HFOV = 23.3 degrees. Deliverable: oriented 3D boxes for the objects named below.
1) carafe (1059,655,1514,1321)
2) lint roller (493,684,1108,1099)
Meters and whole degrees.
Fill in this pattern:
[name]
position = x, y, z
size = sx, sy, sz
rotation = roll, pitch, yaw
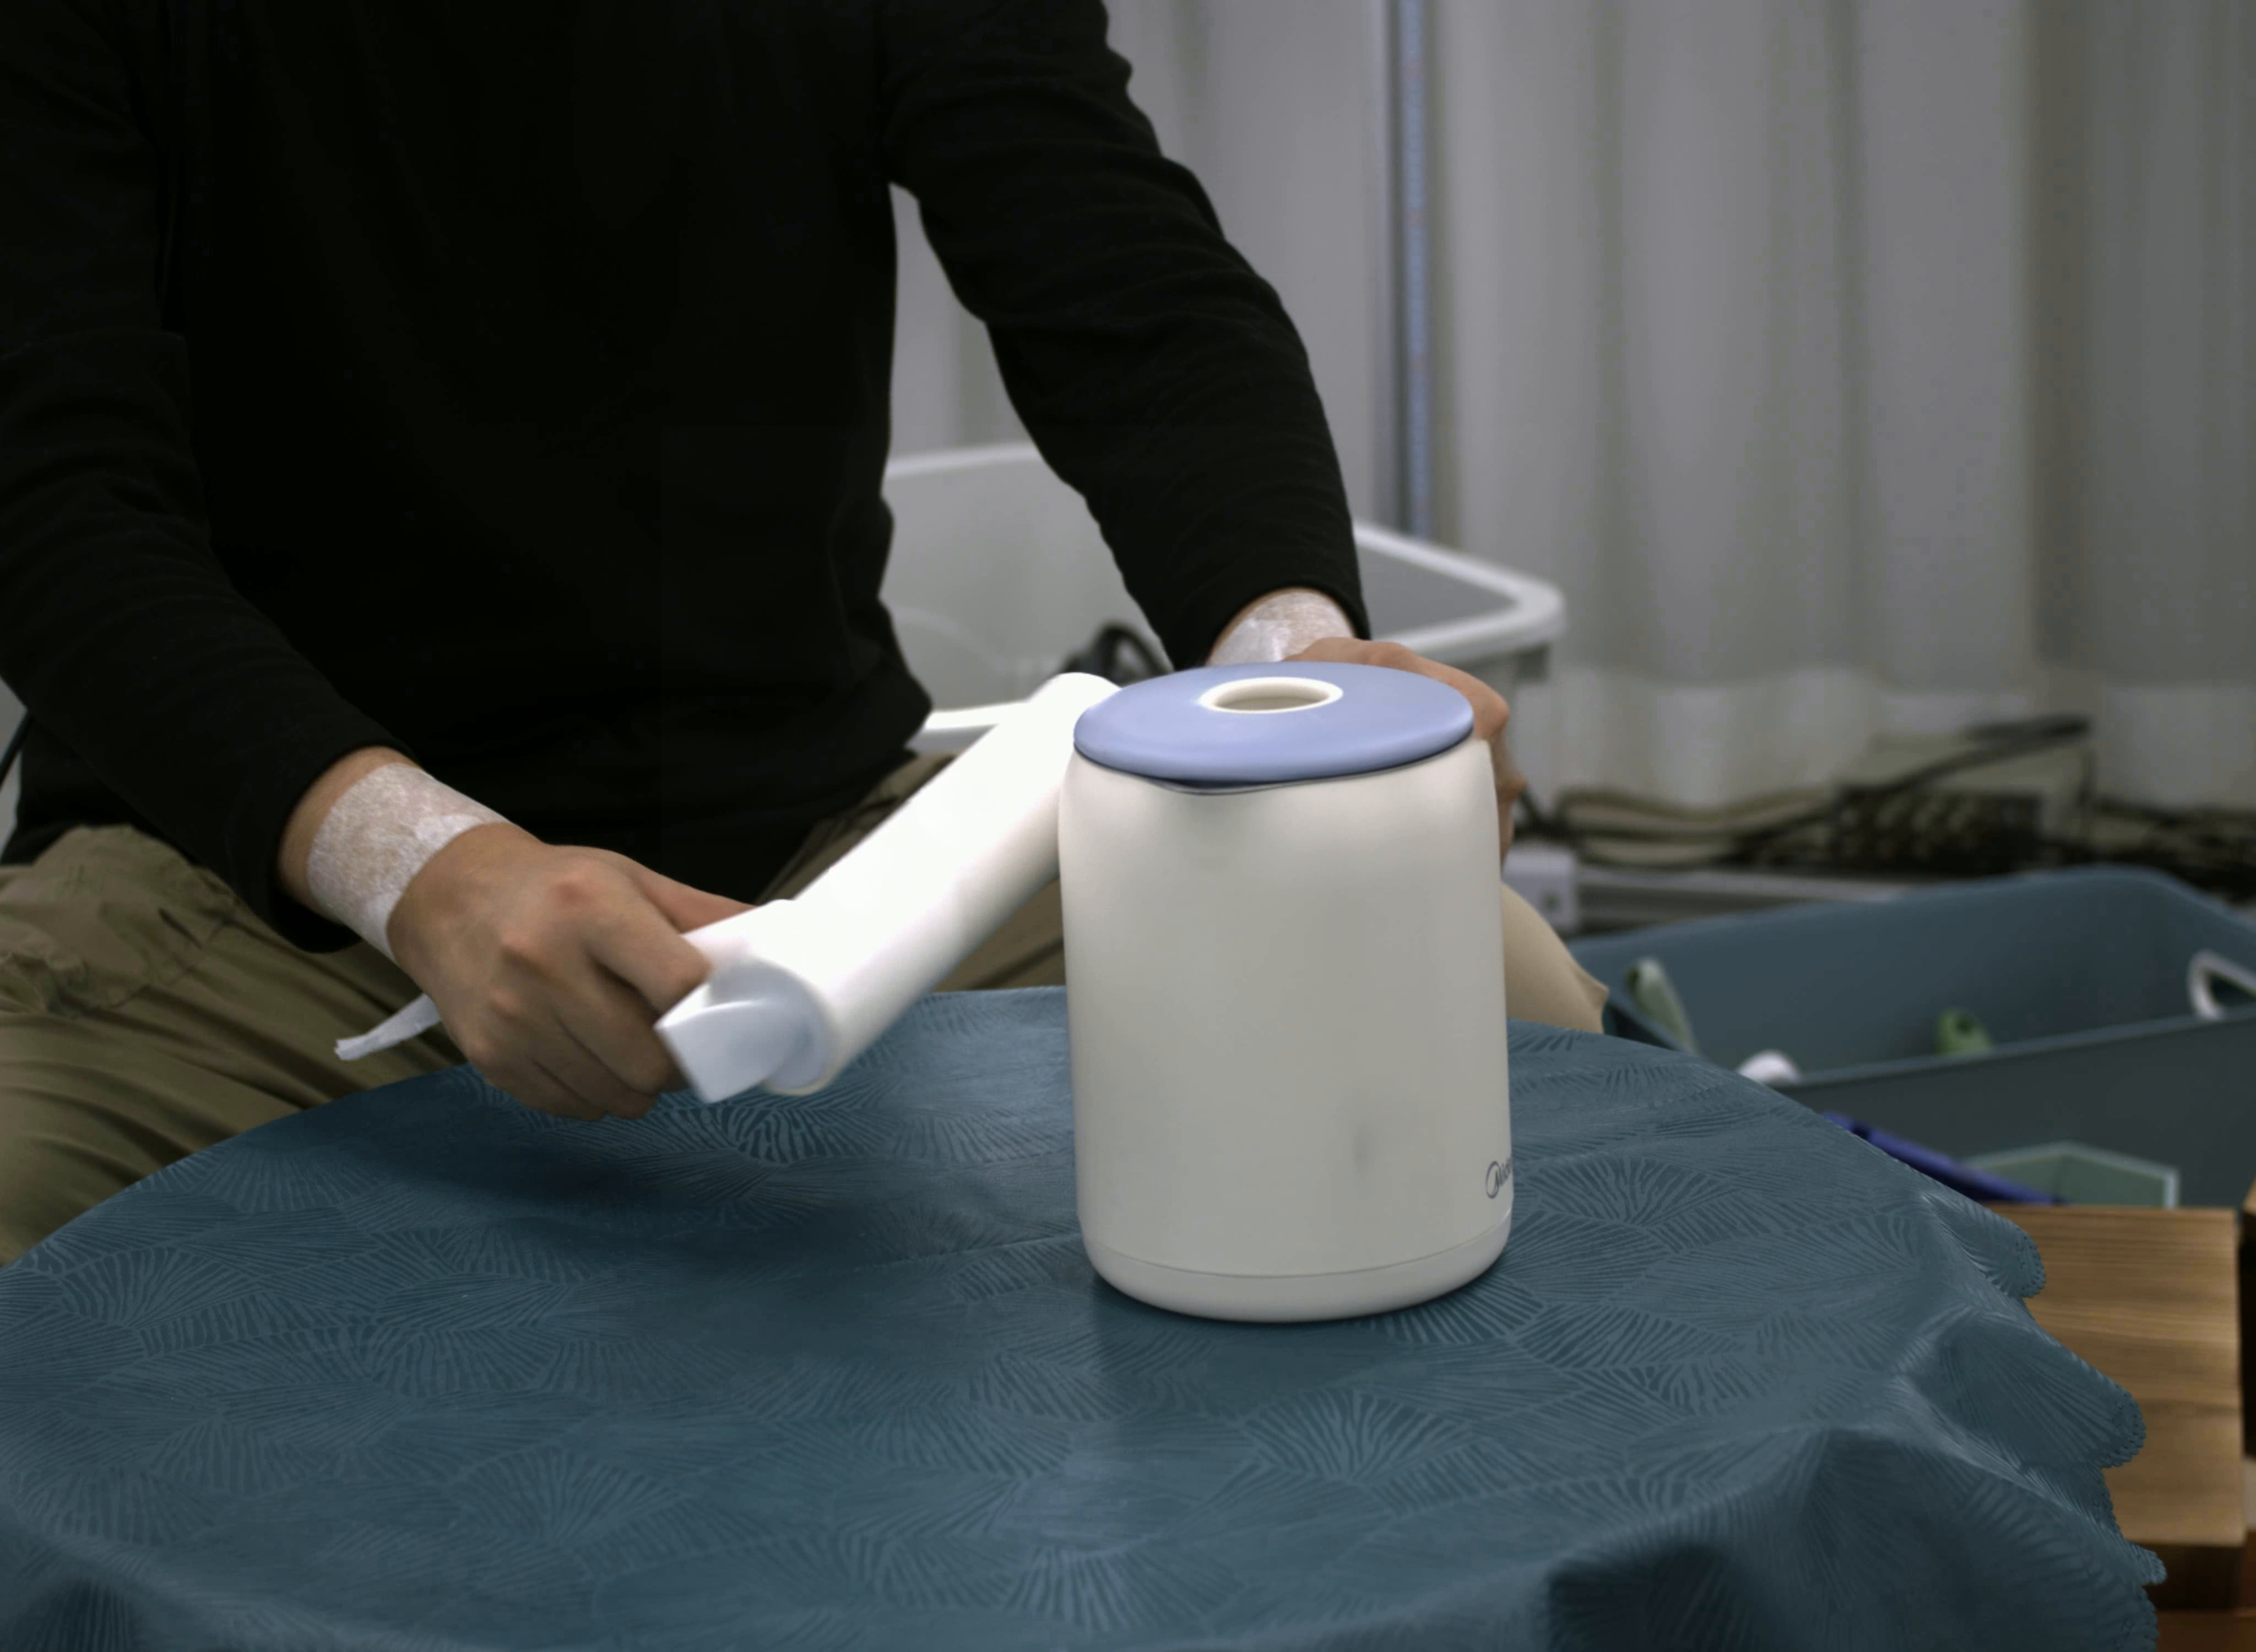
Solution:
[carafe]
position = 0.055, 0.041, 1.647
size = 0.132, 0.182, 0.191
rotation = 2, 13, 18
[lint roller]
position = -0.121, 0.038, 1.705
size = 0.225, 0.048, 0.204
rotation = -18, 16, 37
